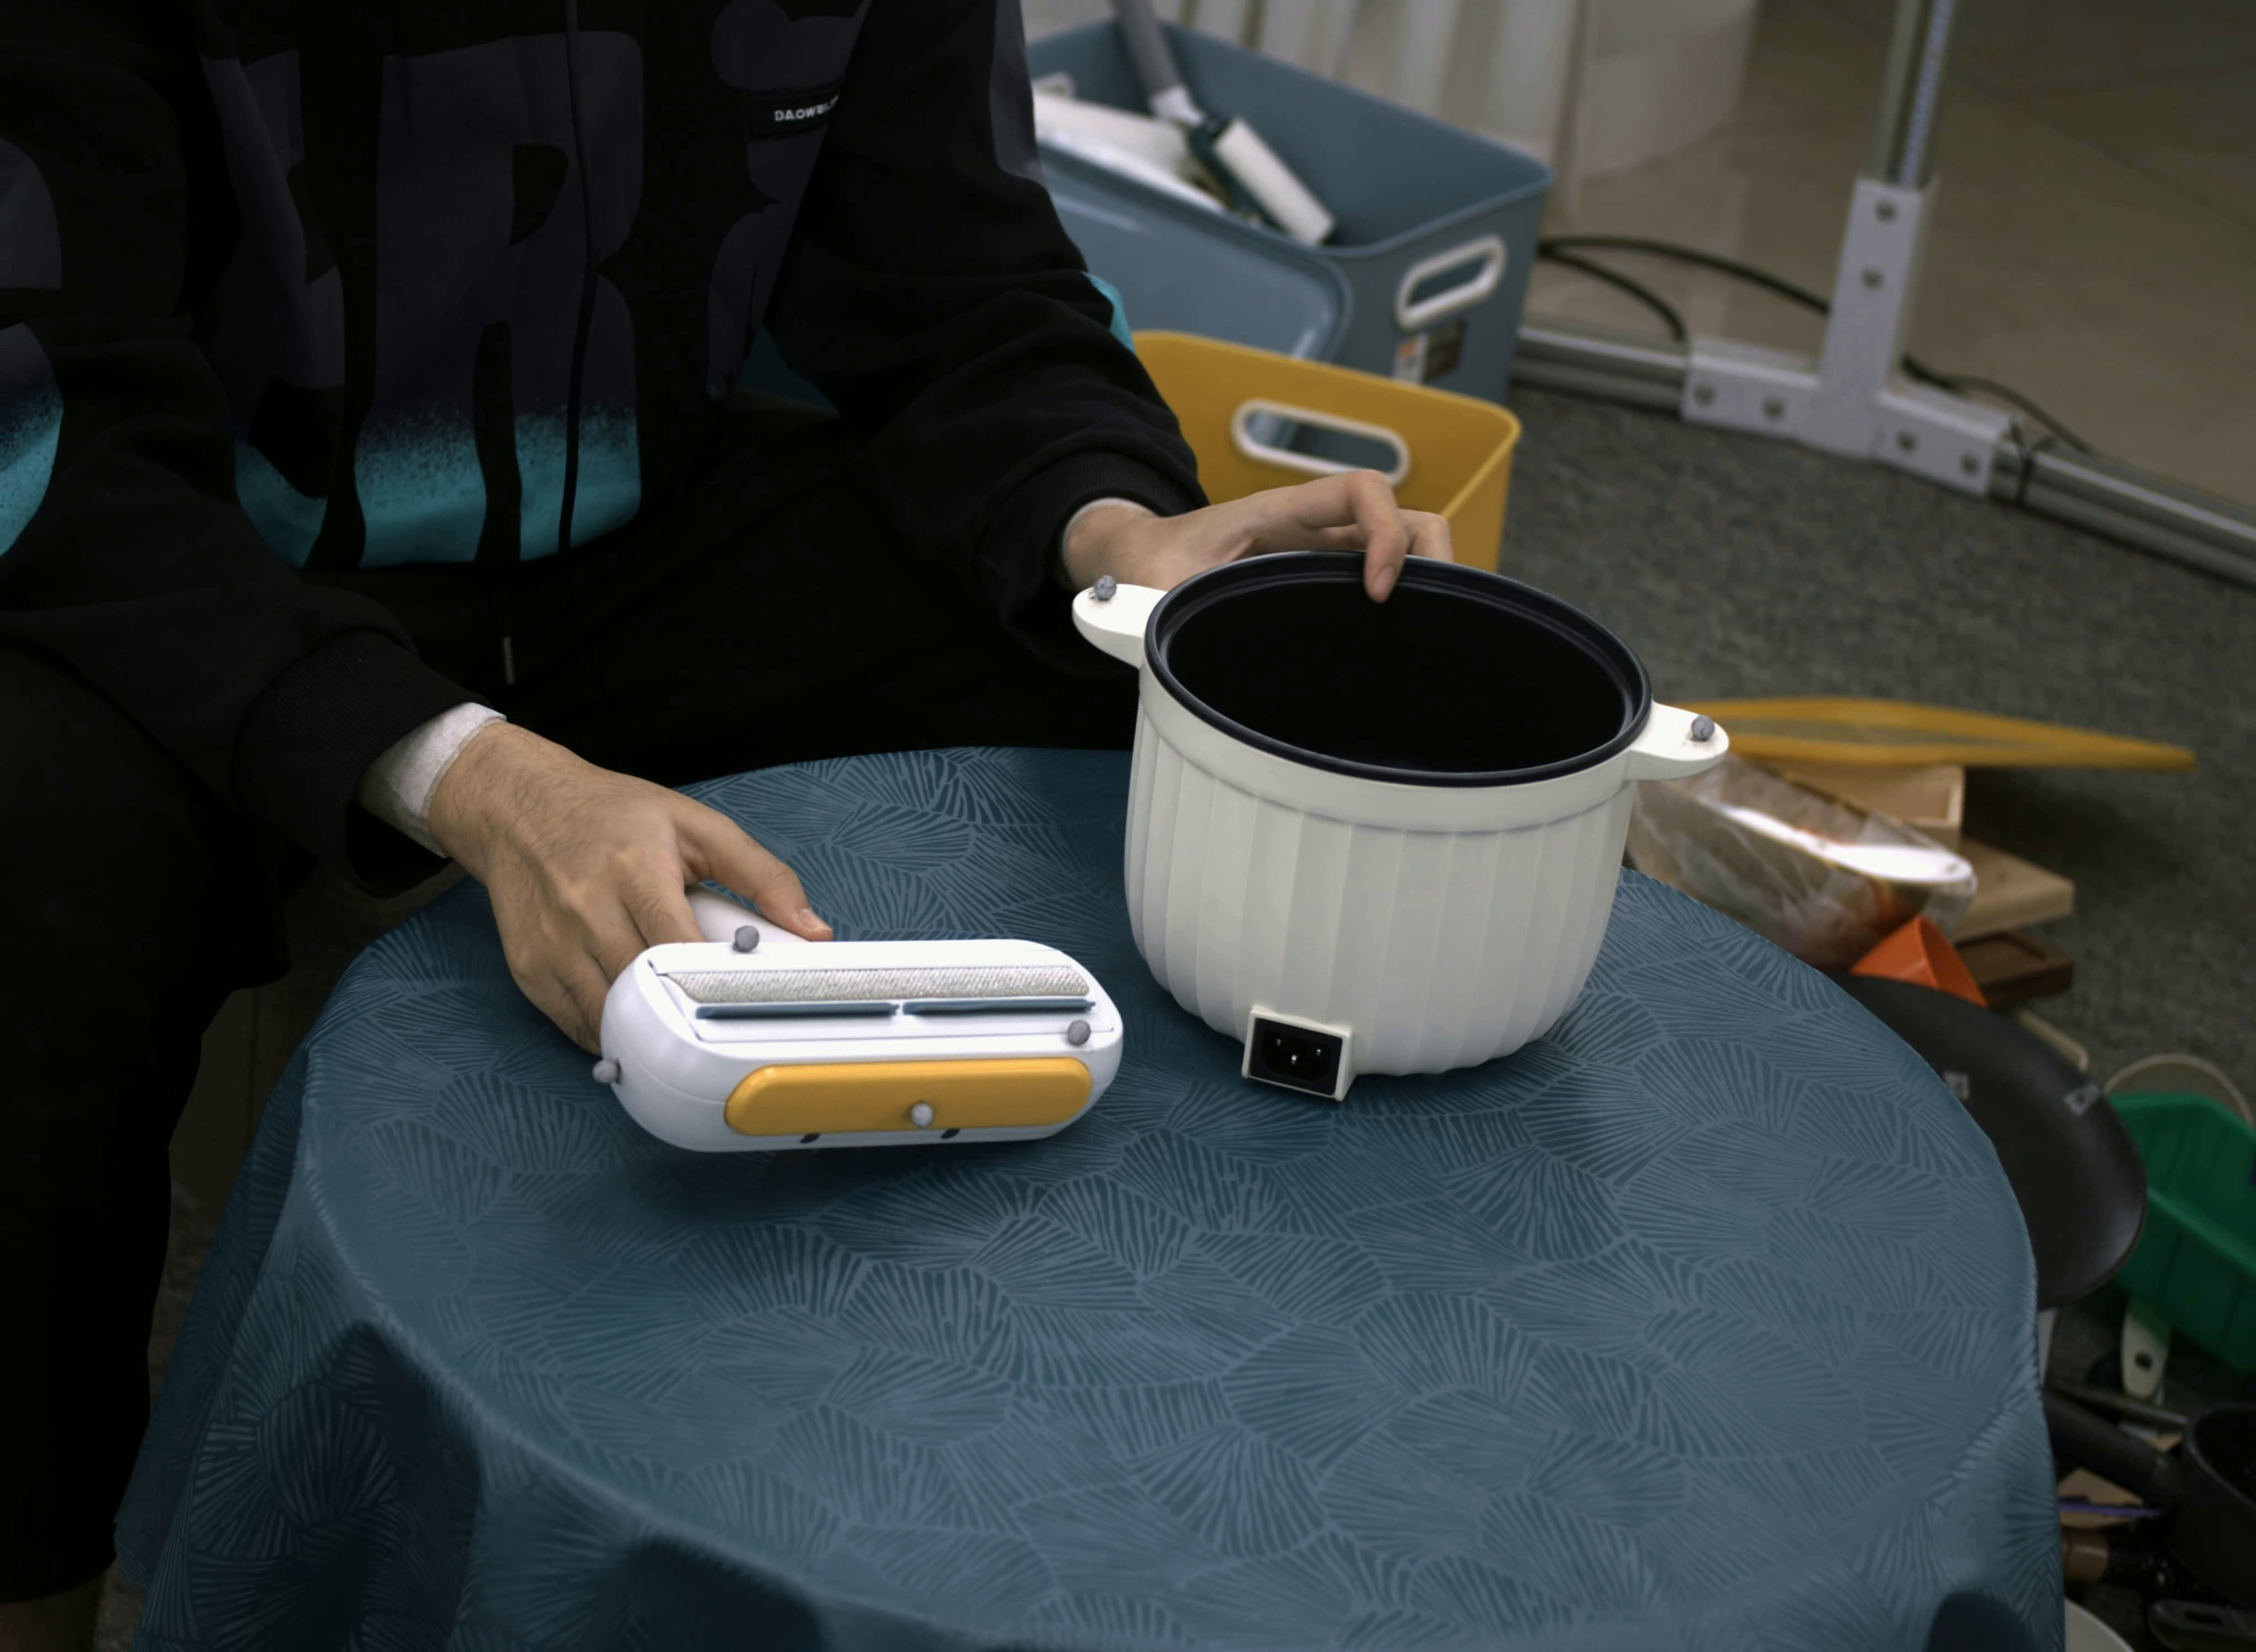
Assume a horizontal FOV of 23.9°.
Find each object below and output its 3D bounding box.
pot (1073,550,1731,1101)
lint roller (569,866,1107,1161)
[{"bbox_3d":[0.090,-0.003,1.913,0.240,0.142,0.191,14,30,12],"label":"pot"},{"bbox_3d":[-0.124,0.051,1.830,0.191,0.074,0.194,-2,30,-31],"label":"lint roller"}]
